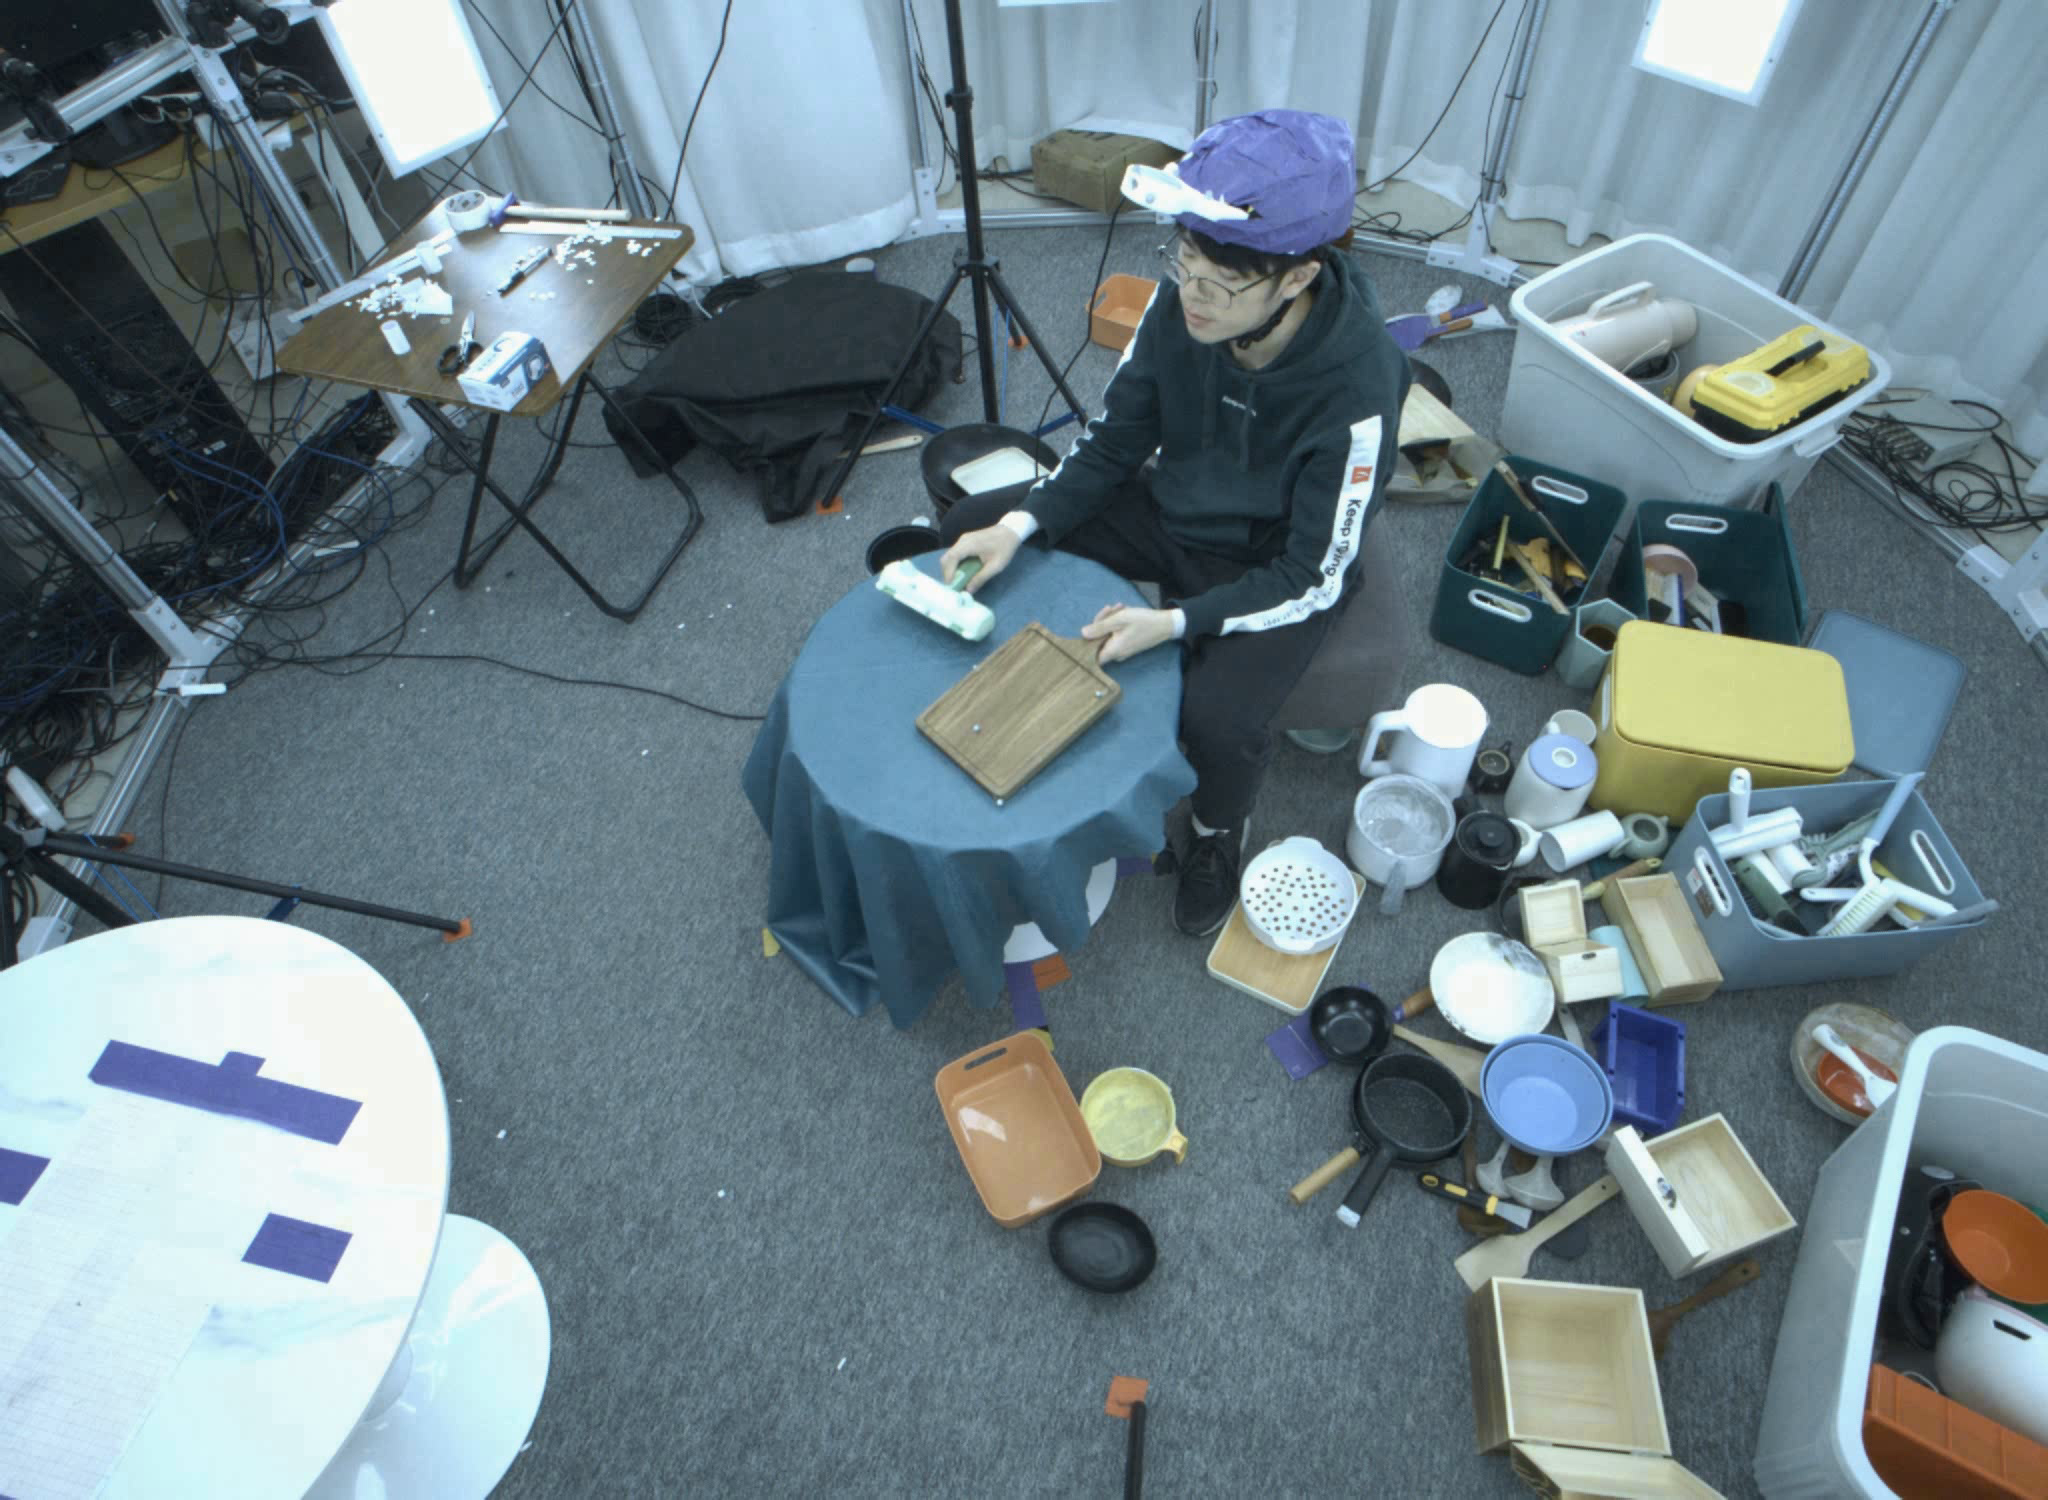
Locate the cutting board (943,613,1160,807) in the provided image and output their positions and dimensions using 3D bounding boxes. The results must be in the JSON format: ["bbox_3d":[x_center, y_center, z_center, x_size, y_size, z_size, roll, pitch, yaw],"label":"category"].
[{"bbox_3d":[0.071,-0.087,1.804,0.354,0.023,0.197,-40,63,-16],"label":"cutting board"}]

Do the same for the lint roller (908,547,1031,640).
[{"bbox_3d":[-0.054,-0.274,1.908,0.195,0.083,0.184,32,66,22],"label":"lint roller"}]
